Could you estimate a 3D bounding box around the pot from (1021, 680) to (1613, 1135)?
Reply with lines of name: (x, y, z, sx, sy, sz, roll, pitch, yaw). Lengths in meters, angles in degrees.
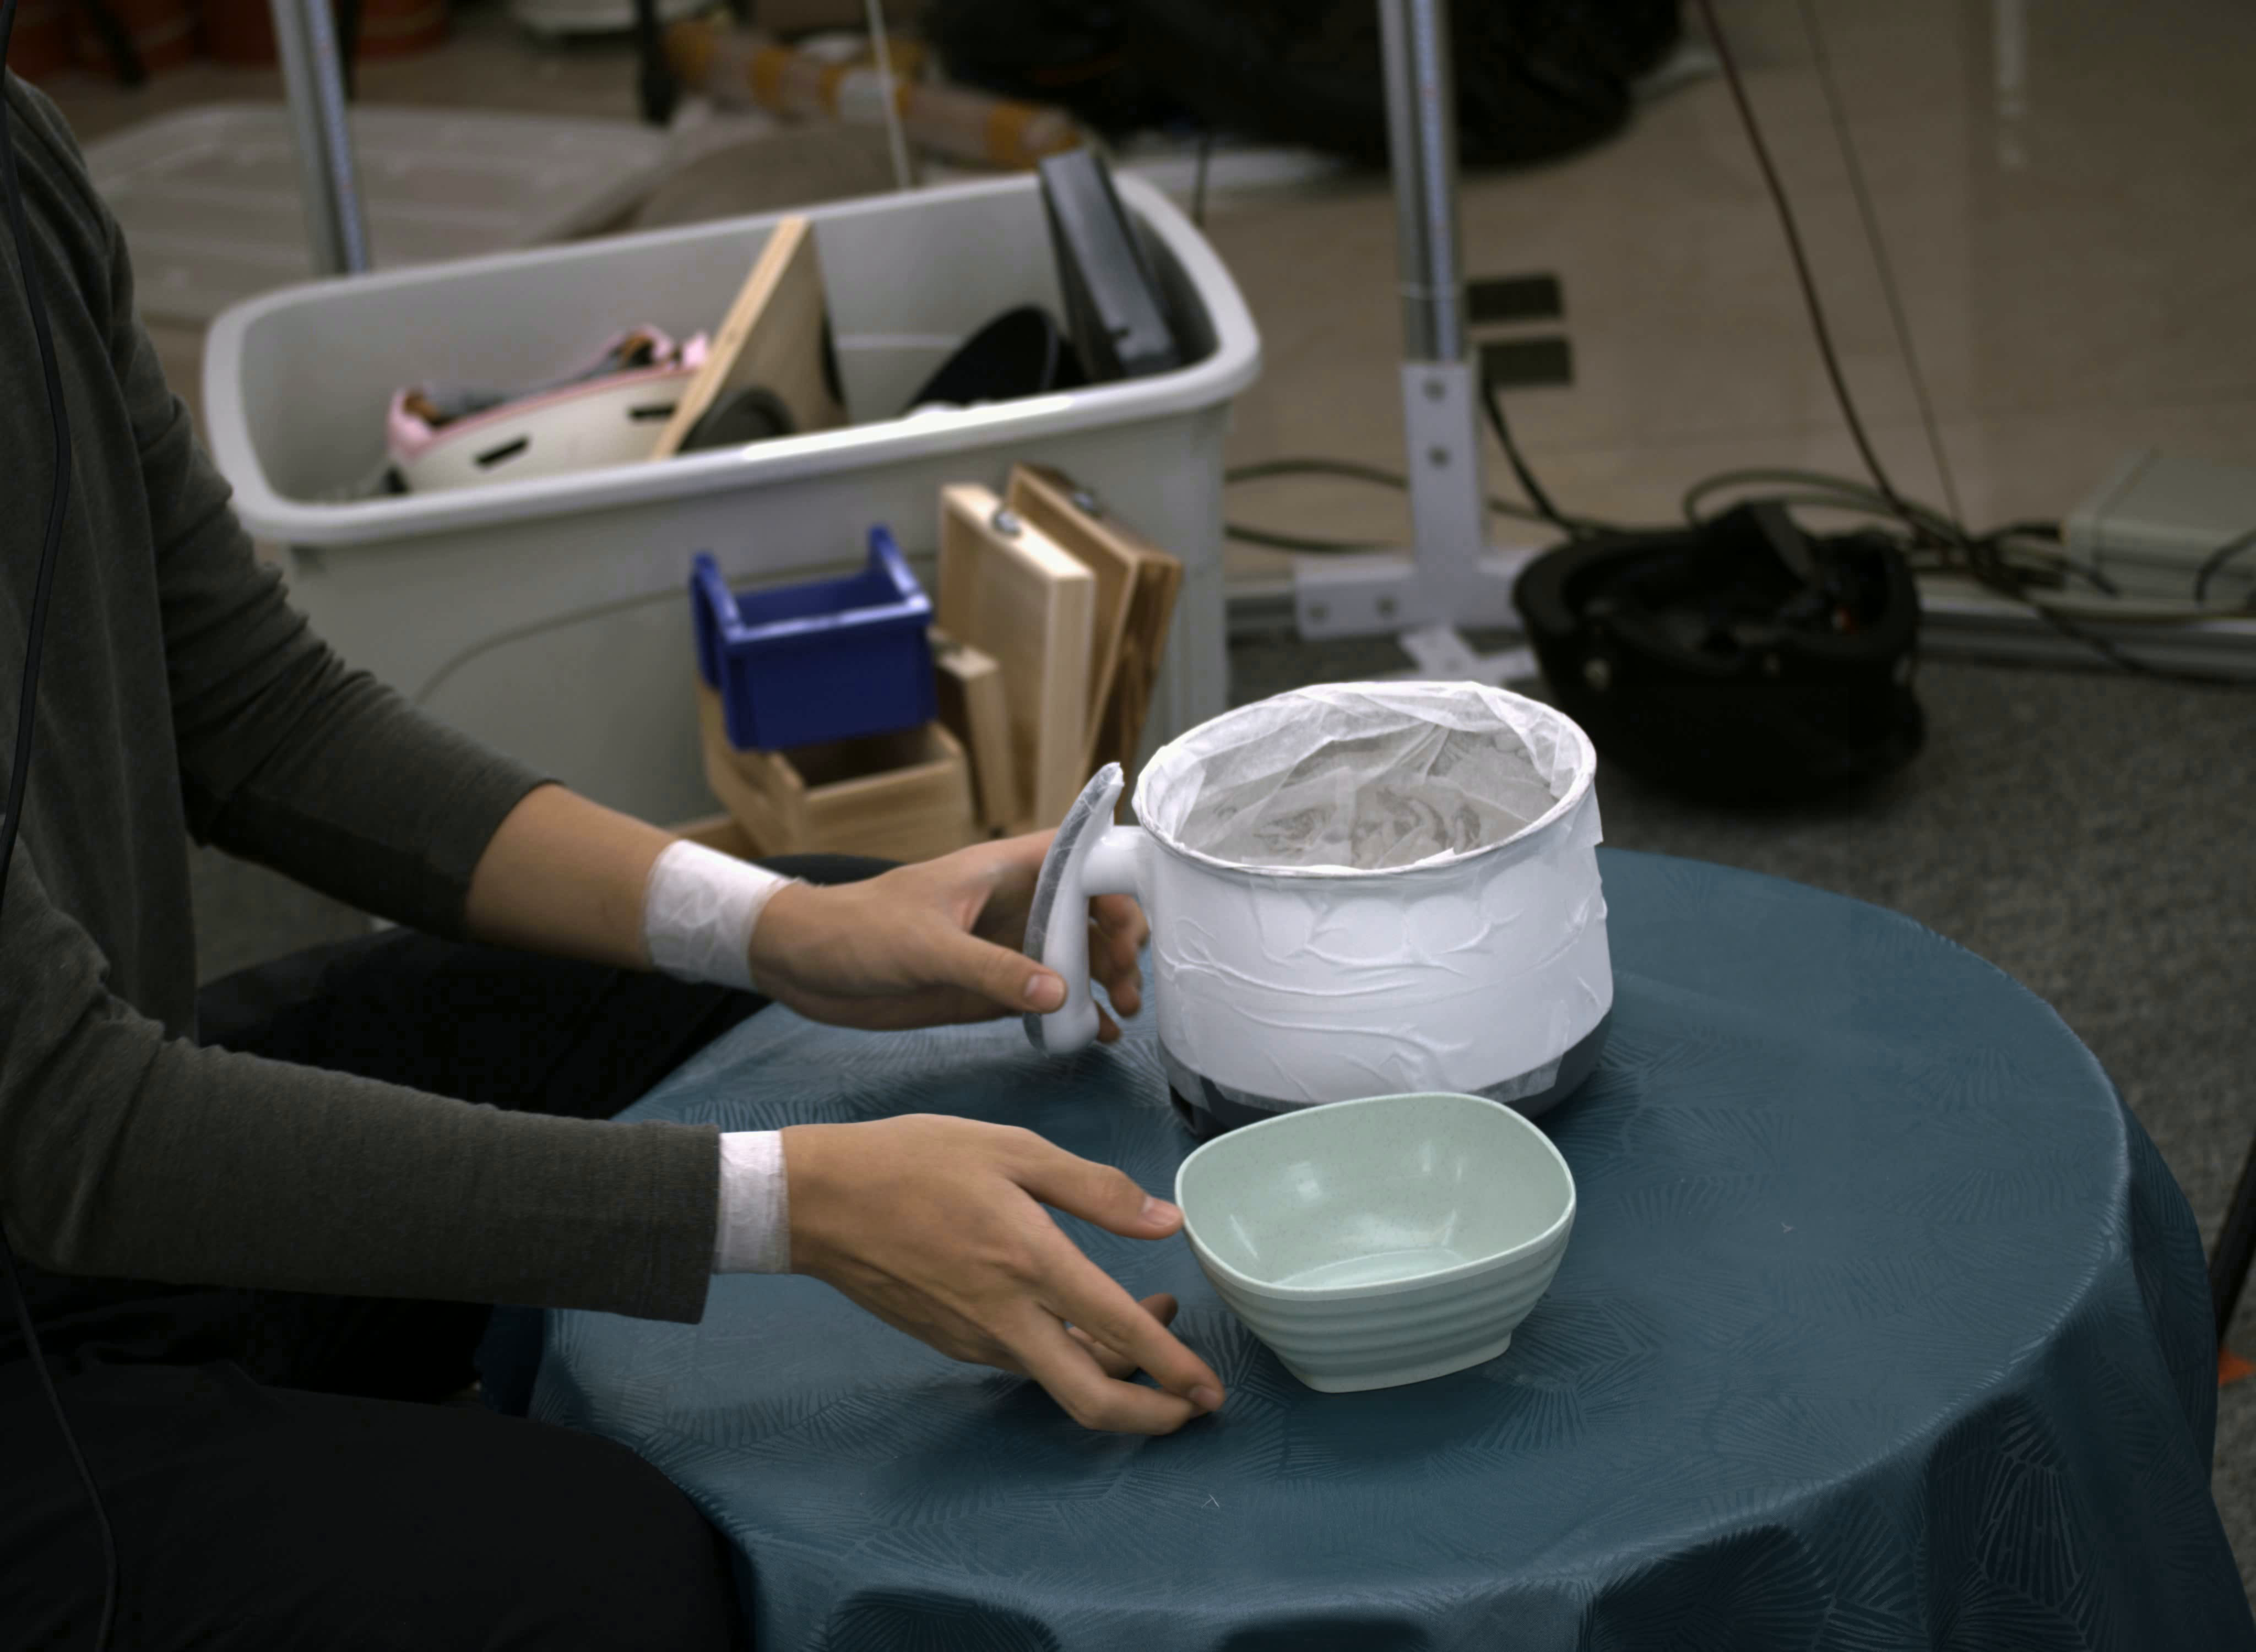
pot: (0.070, 0.037, 2.187, 0.233, 0.139, 0.176, 0, 26, 12)

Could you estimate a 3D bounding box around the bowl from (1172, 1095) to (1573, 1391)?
bowl: (0.088, 0.155, 2.027, 0.151, 0.059, 0.149, -3, 25, 2)
